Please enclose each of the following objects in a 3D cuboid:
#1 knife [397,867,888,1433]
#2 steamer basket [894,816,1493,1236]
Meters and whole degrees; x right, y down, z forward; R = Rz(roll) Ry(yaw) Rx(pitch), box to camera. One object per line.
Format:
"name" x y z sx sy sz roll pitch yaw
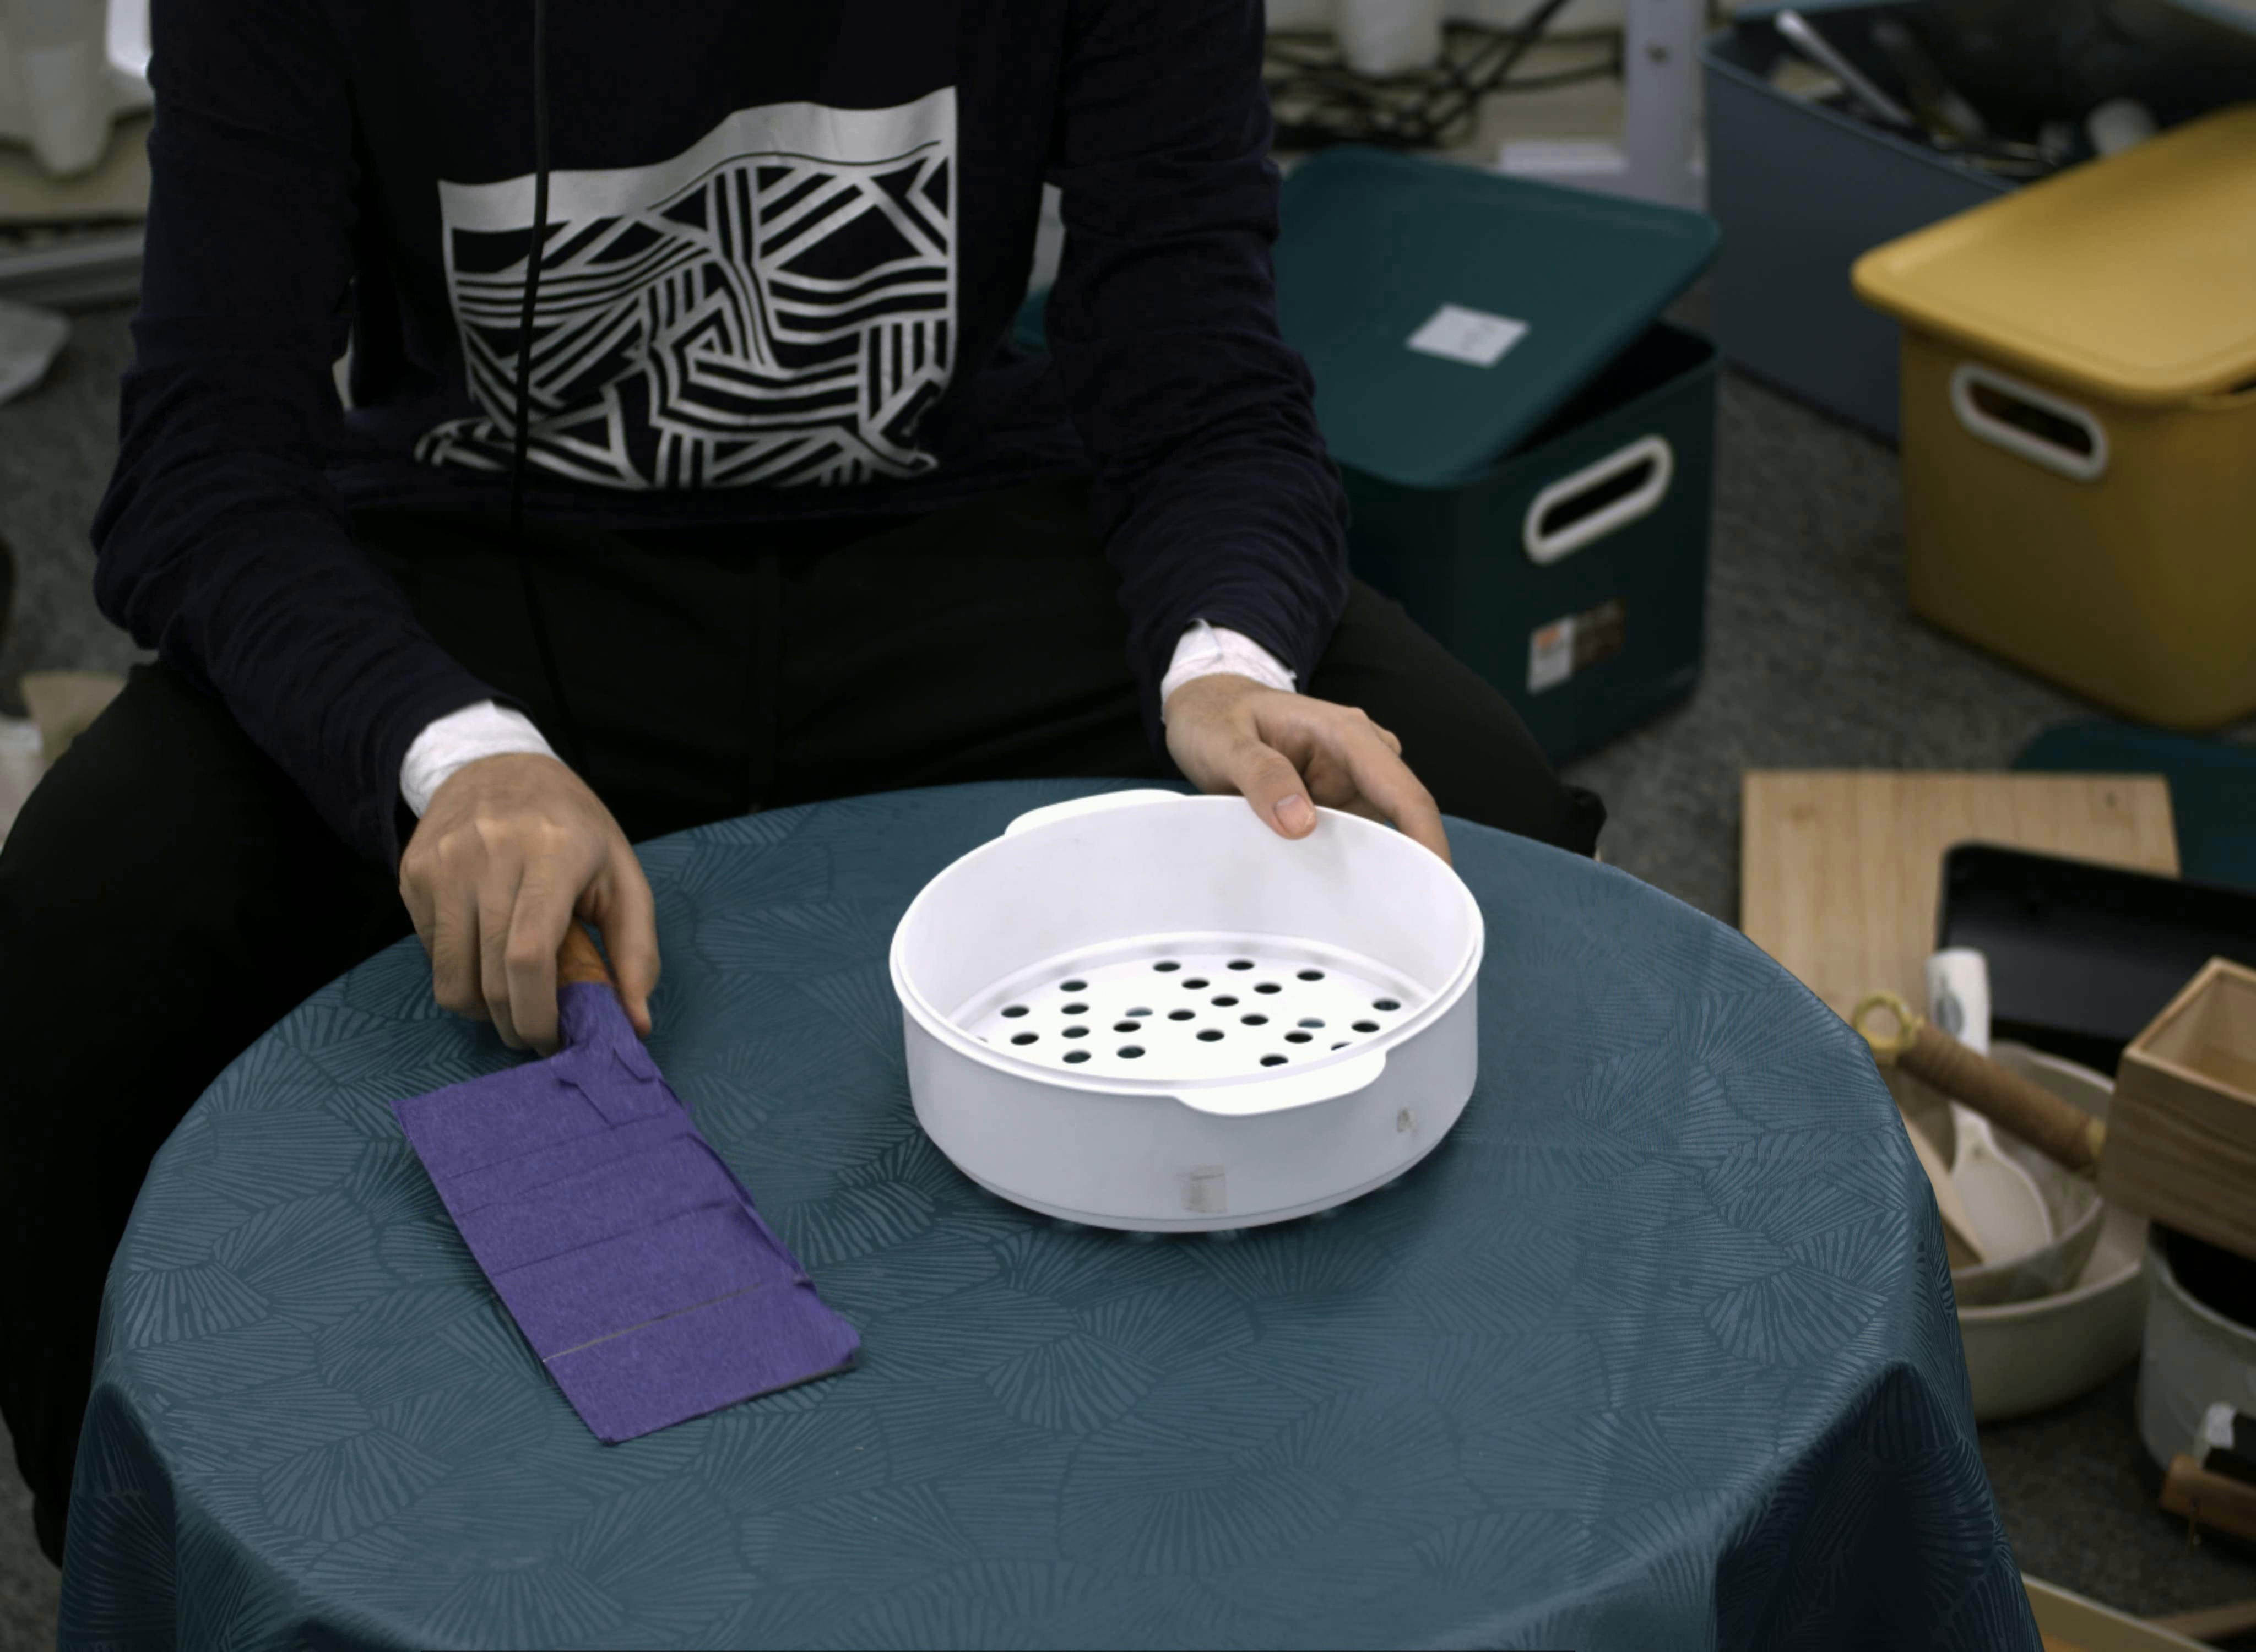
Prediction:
"knife" -0.188 0.103 1.873 0.104 0.032 0.317 -16 32 -20
"steamer basket" 0.023 0.068 1.894 0.202 0.068 0.232 -10 25 -15
